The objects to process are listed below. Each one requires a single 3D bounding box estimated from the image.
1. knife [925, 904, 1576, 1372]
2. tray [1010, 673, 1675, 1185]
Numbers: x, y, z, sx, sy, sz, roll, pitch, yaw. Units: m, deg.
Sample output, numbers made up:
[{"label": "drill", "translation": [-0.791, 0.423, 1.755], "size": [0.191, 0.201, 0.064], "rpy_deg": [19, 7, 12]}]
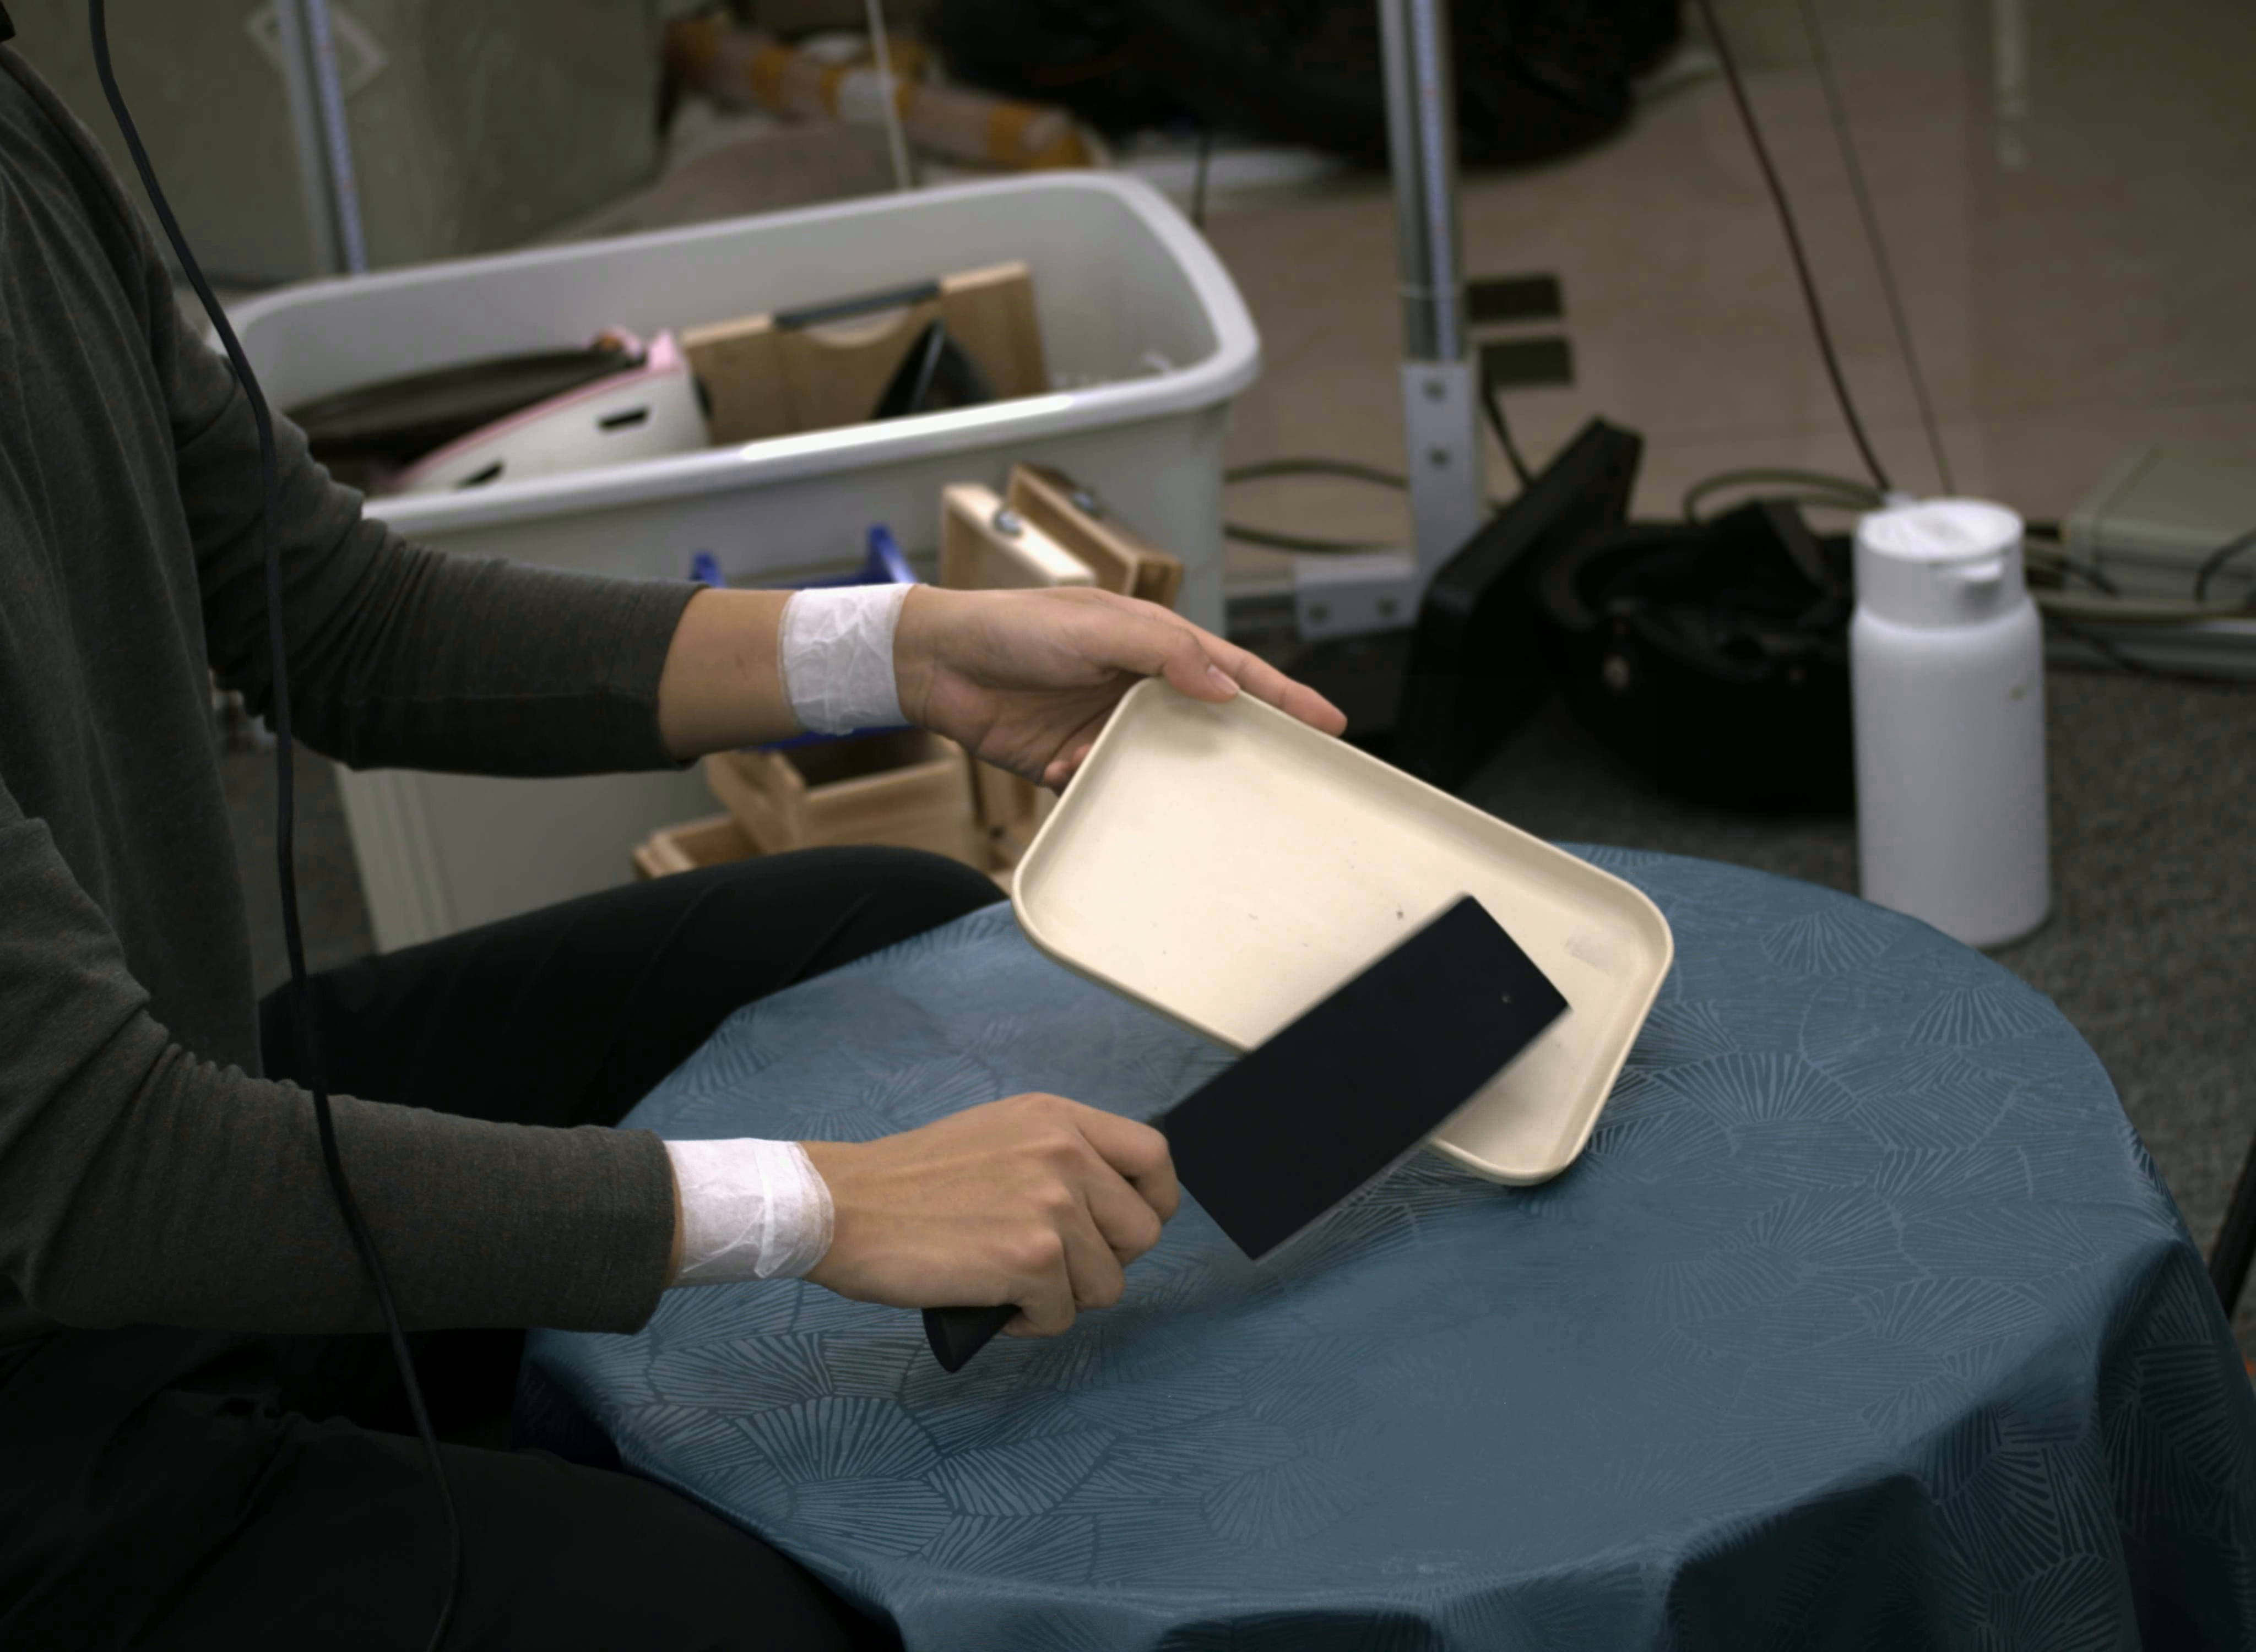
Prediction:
[{"label": "knife", "translation": [0.045, 0.119, 2.077], "size": [0.300, 0.021, 0.080], "rpy_deg": [-29, 74, -30]}, {"label": "tray", "translation": [0.083, 0.040, 2.174], "size": [0.239, 0.018, 0.168], "rpy_deg": [26, 48, 4]}]
